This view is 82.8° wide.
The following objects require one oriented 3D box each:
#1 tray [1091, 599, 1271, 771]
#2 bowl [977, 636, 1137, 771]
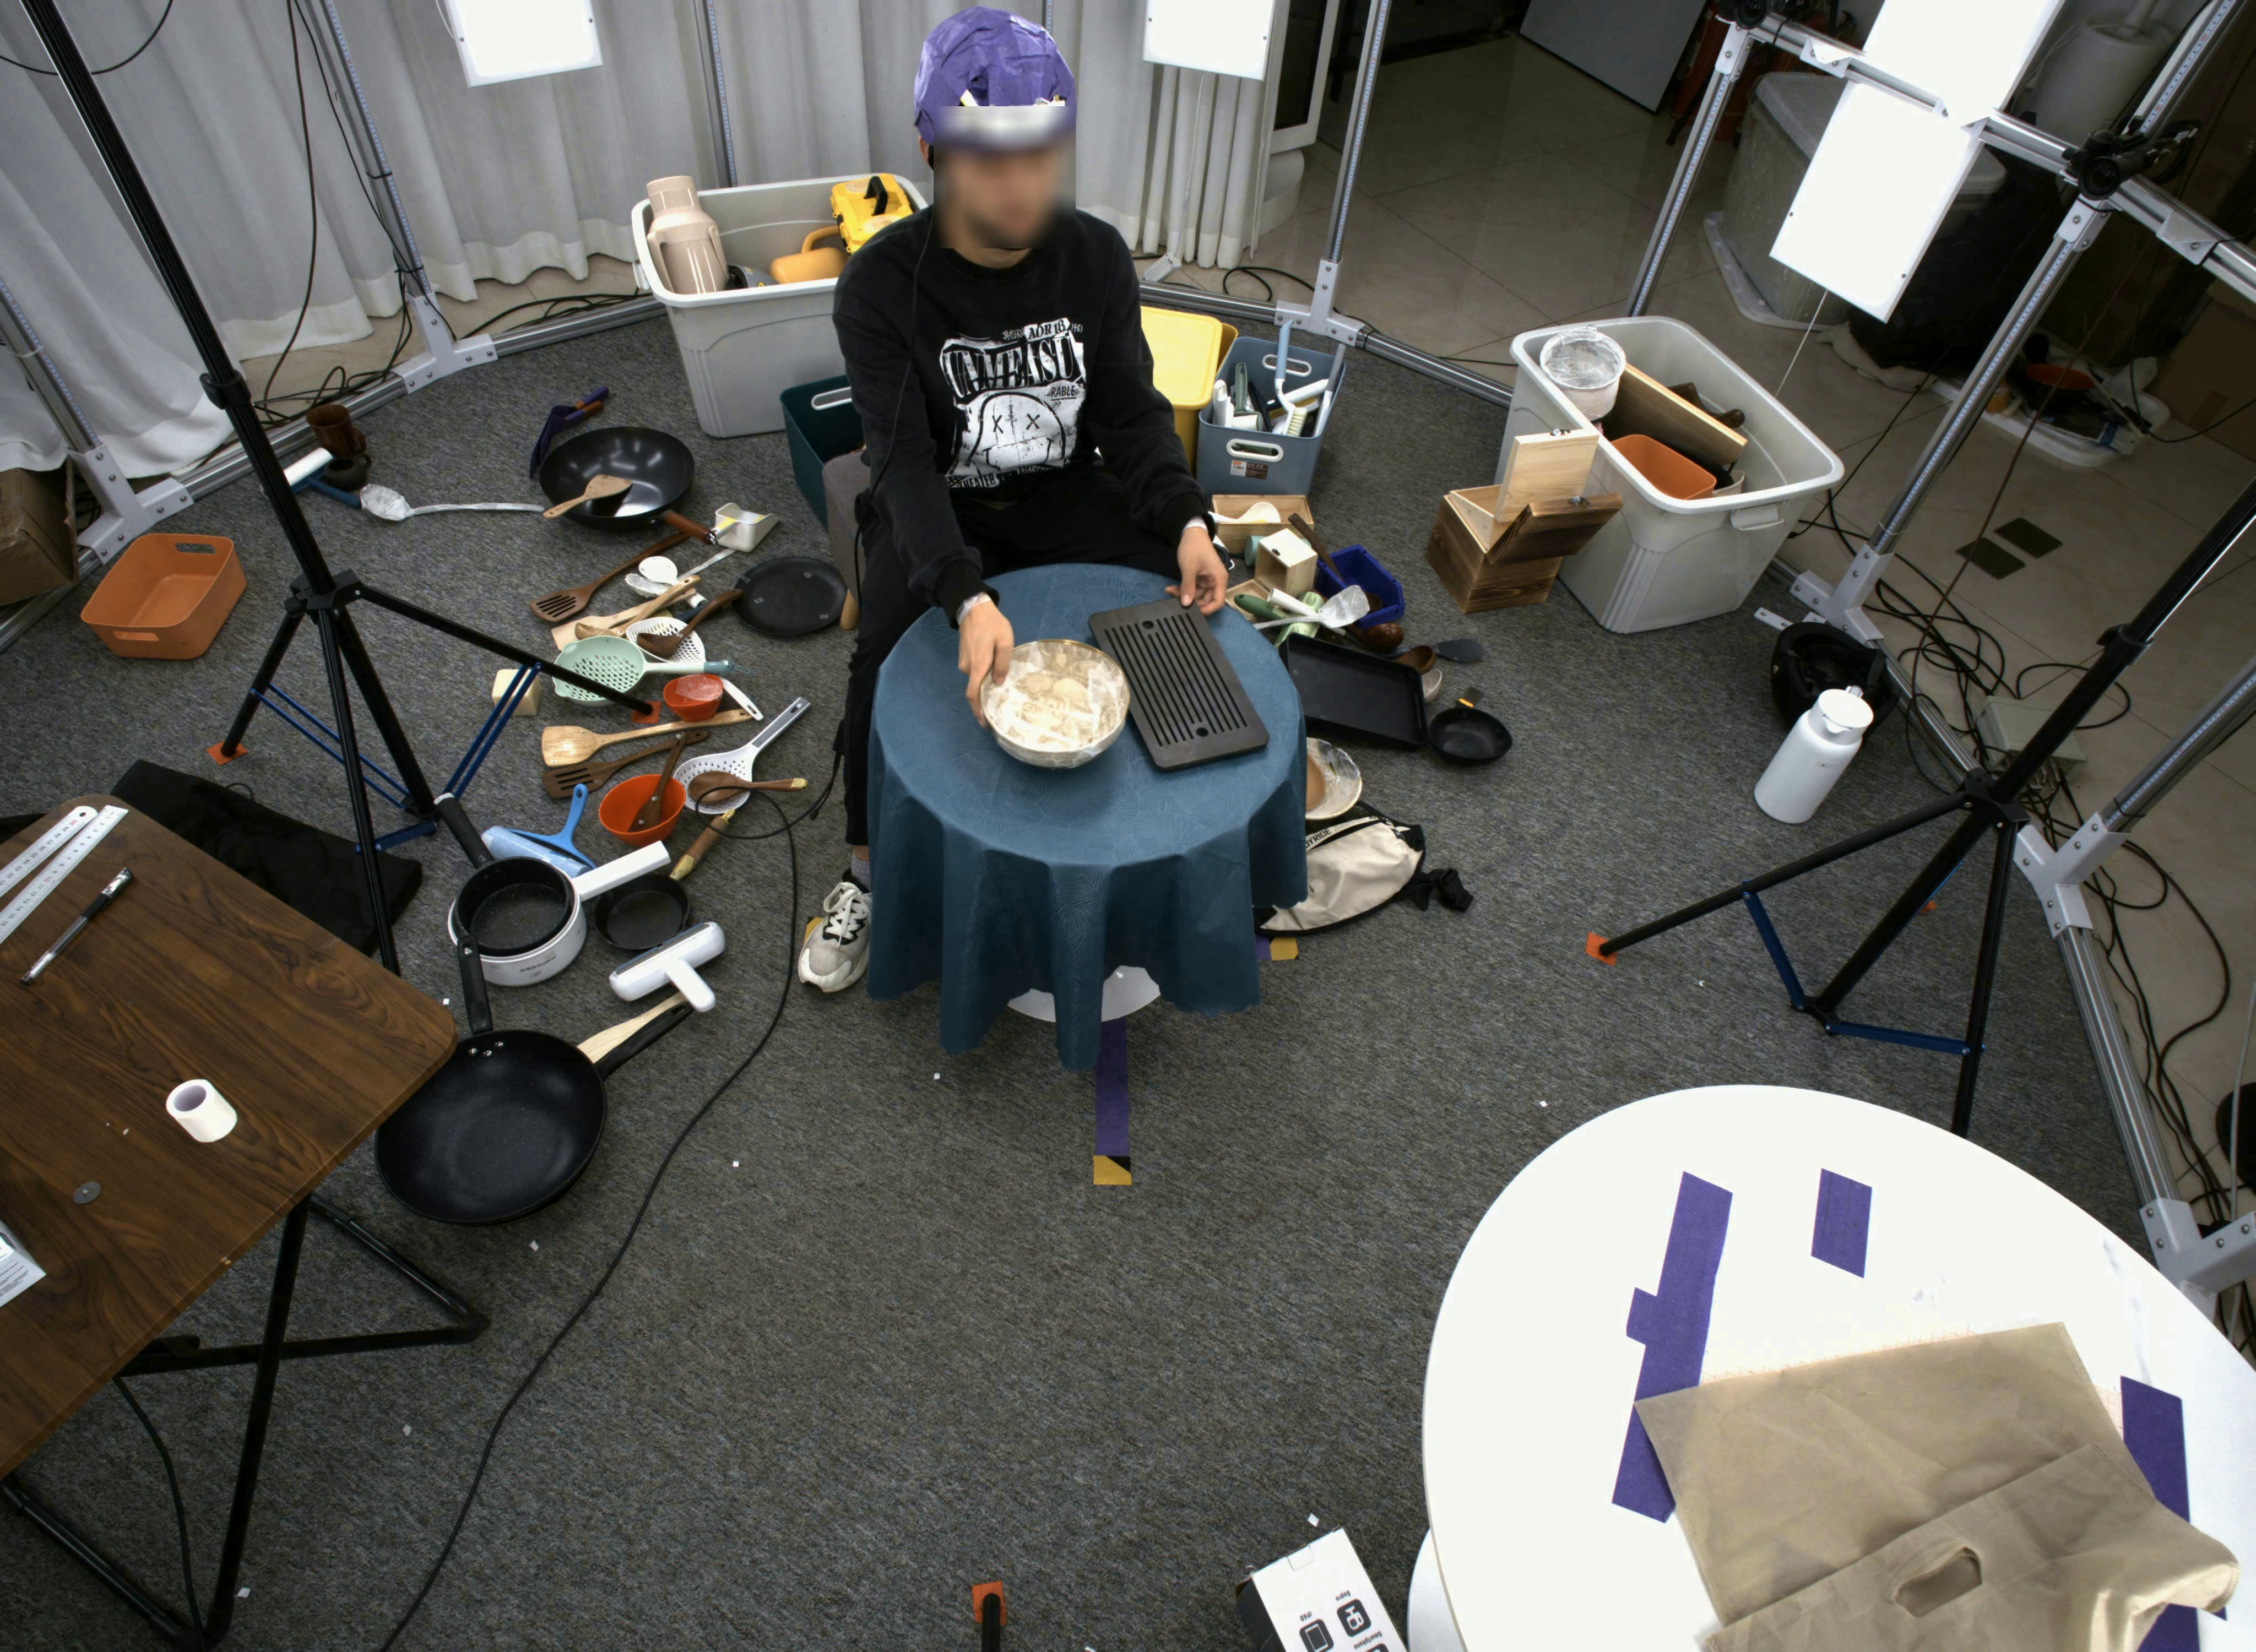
[{"bbox_3d":[0.072,-0.207,1.849,0.170,0.018,0.313,-13,54,-15],"label":"tray"},{"bbox_3d":[-0.097,-0.151,1.746,0.214,0.092,0.220,0,52,-1],"label":"bowl"}]
